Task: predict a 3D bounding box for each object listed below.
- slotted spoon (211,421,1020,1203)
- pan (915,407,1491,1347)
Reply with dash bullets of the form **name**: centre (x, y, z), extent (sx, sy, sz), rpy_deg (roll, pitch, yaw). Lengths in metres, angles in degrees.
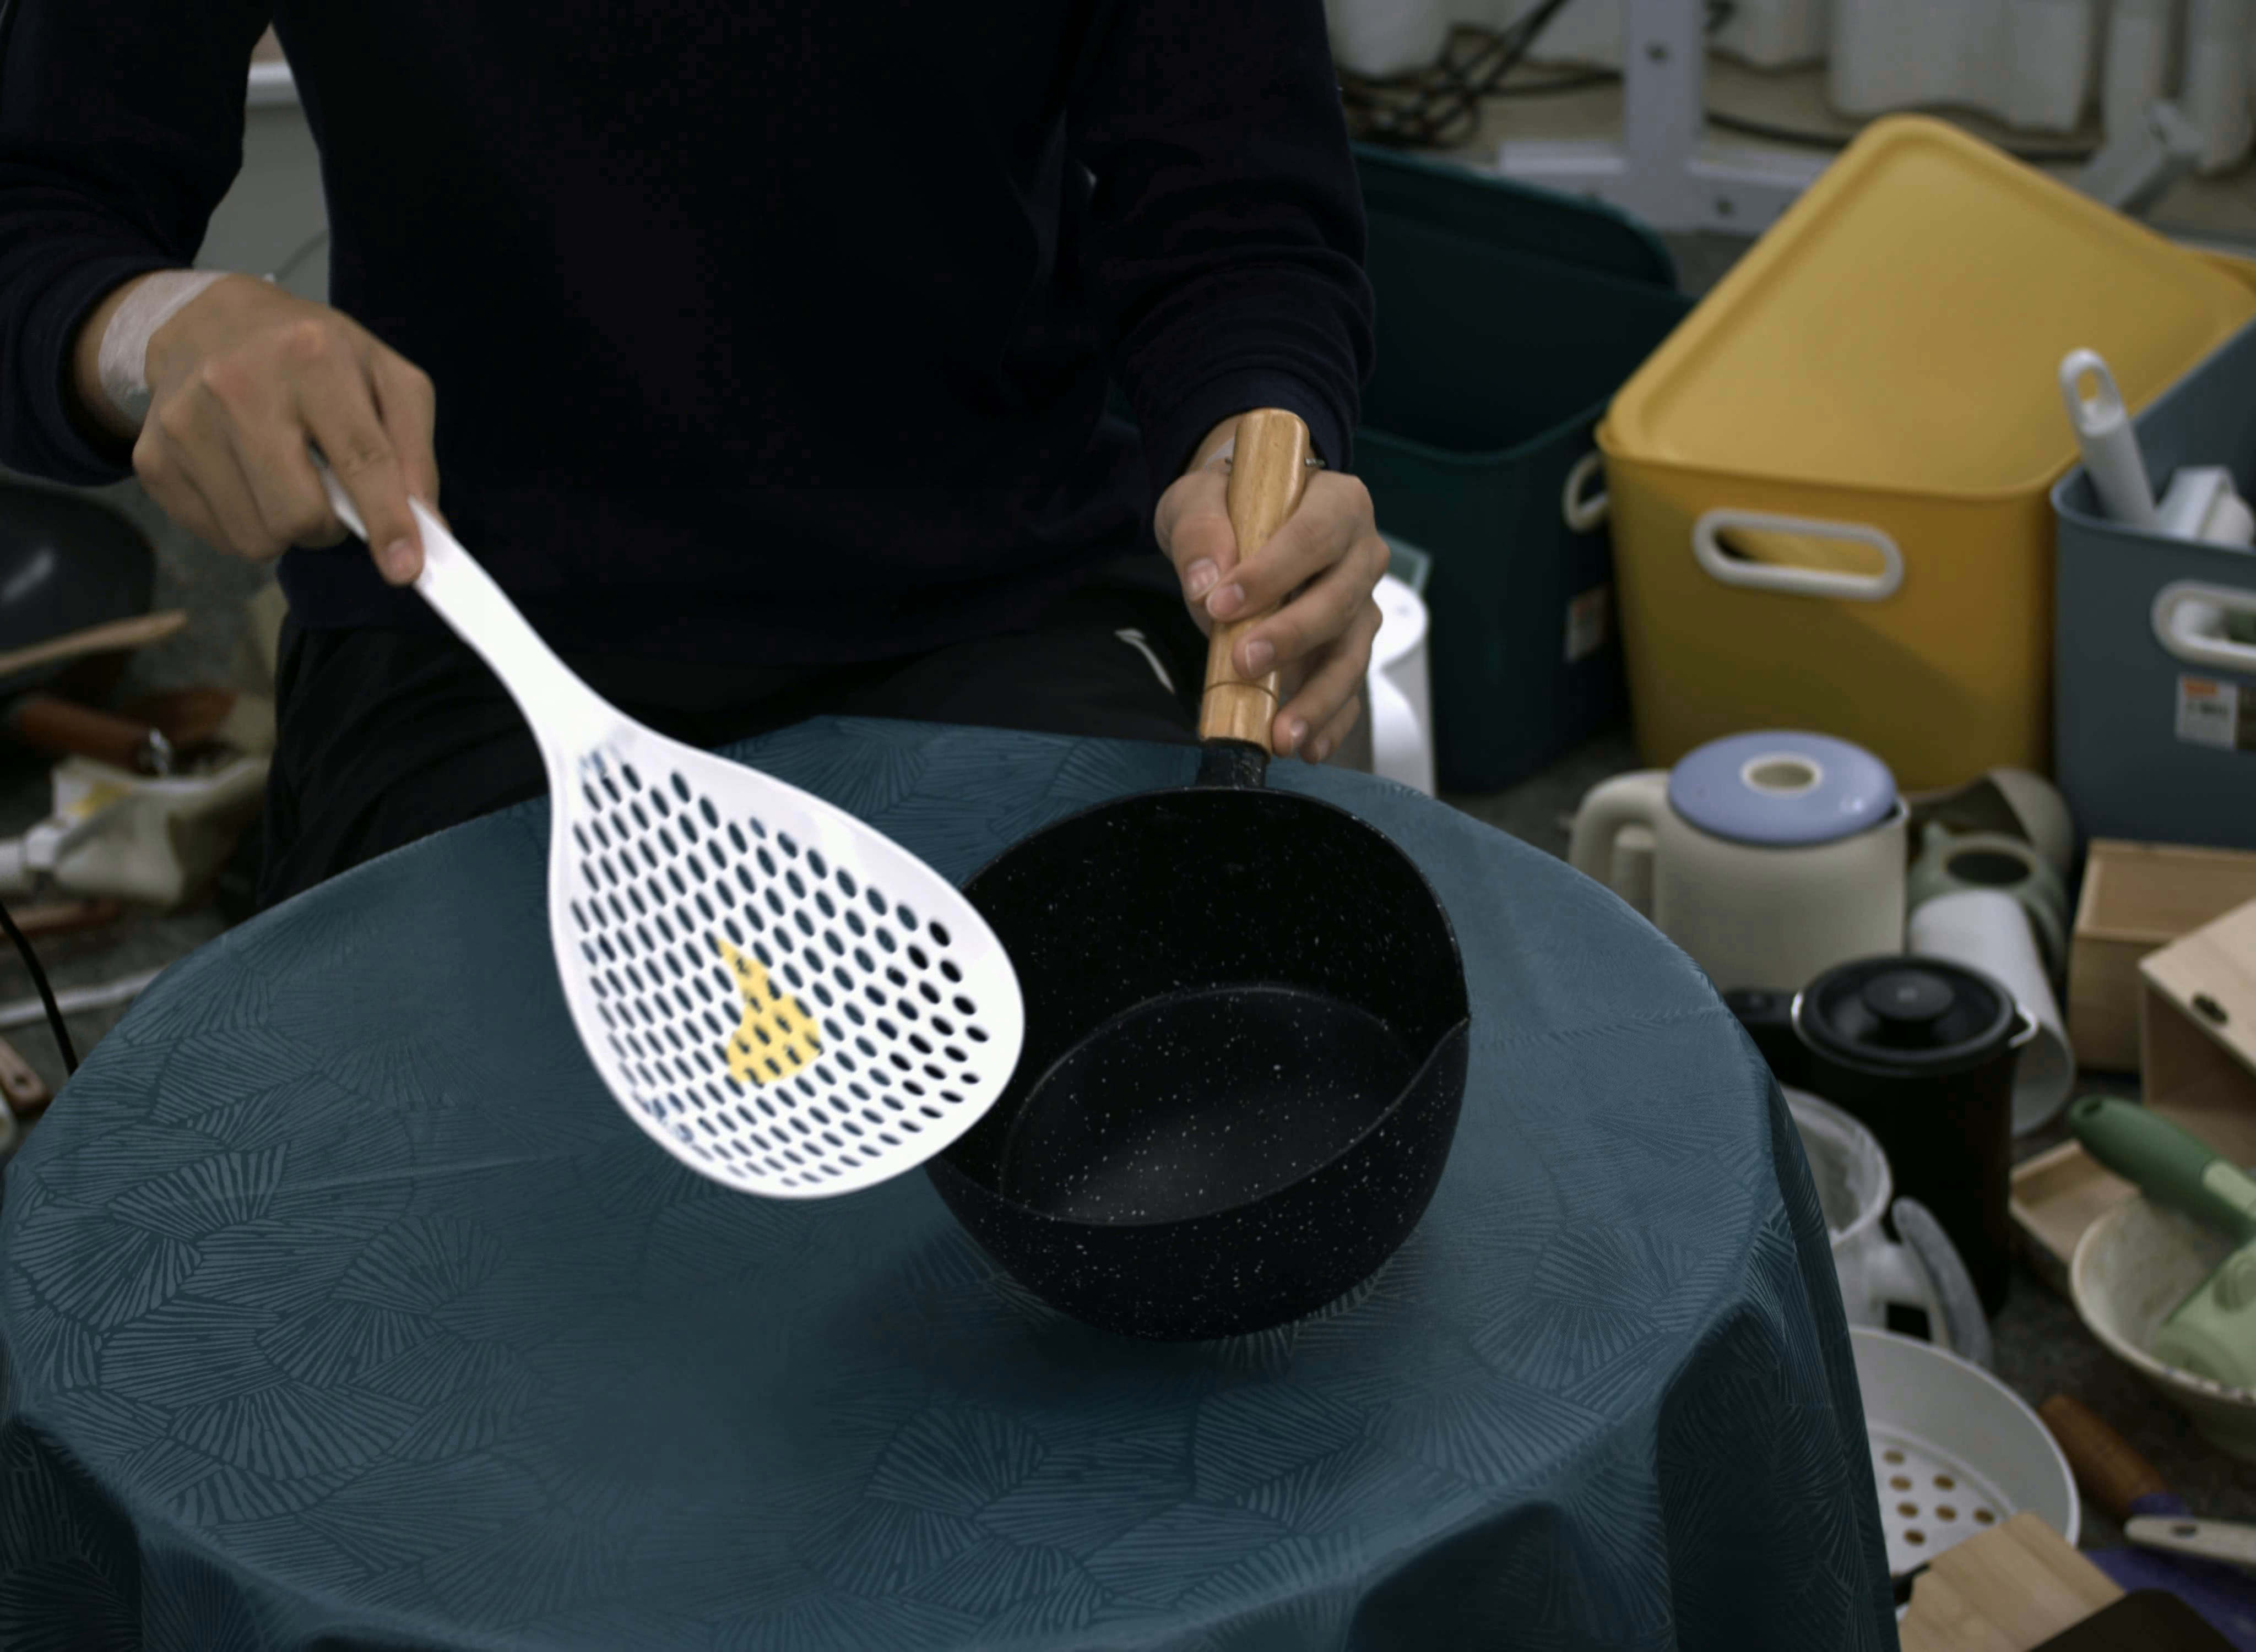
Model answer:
- **slotted spoon**: centre (-0.174, -0.016, 1.762), extent (0.138, 0.049, 0.350), rpy_deg (-31, 71, -28)
- **pan**: centre (0.030, 0.016, 1.849), extent (0.206, 0.107, 0.350), rpy_deg (-2, 46, 14)
